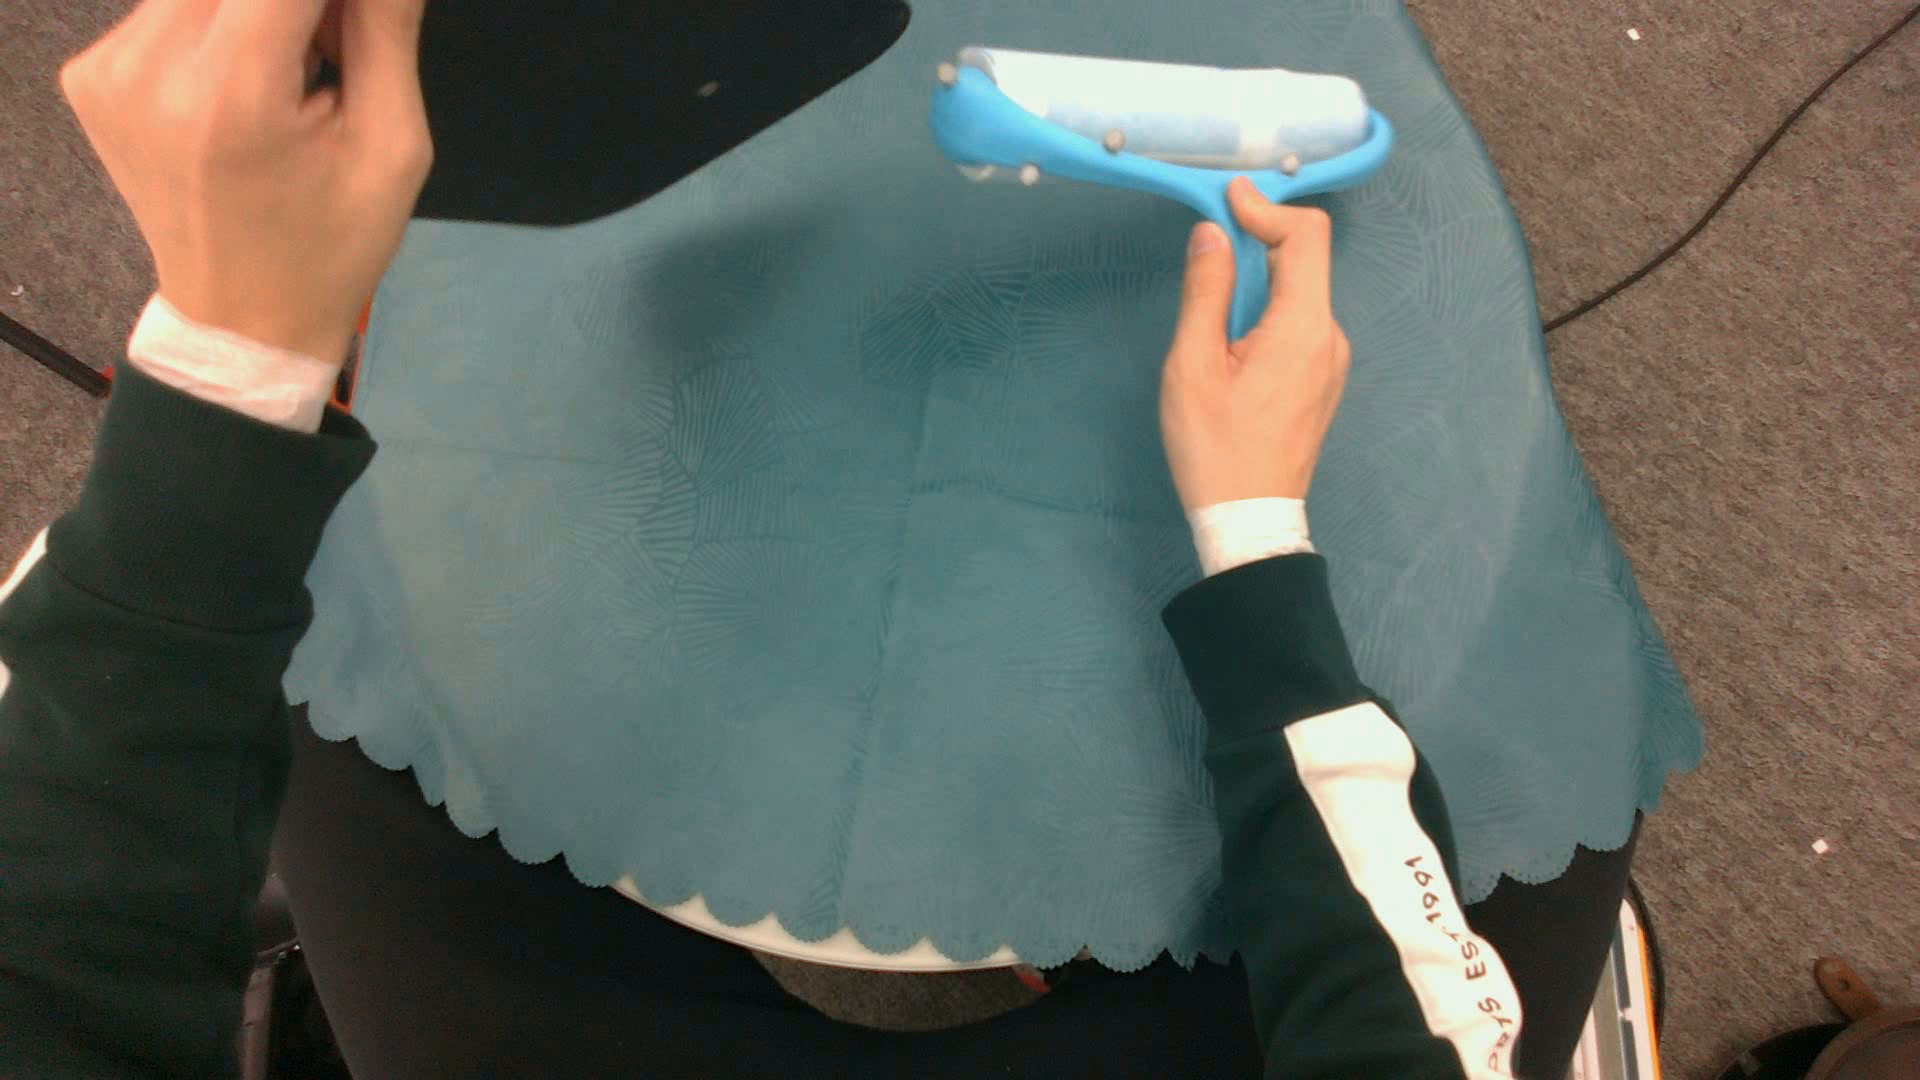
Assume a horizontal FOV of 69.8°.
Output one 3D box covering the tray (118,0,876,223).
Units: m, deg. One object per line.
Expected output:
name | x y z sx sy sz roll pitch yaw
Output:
tray | -0.151 -0.175 0.524 0.210 0.326 0.010 -27 95 18

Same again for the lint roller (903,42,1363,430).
lint roller | 0.099 -0.143 0.611 0.229 0.067 0.180 -9 70 -27
